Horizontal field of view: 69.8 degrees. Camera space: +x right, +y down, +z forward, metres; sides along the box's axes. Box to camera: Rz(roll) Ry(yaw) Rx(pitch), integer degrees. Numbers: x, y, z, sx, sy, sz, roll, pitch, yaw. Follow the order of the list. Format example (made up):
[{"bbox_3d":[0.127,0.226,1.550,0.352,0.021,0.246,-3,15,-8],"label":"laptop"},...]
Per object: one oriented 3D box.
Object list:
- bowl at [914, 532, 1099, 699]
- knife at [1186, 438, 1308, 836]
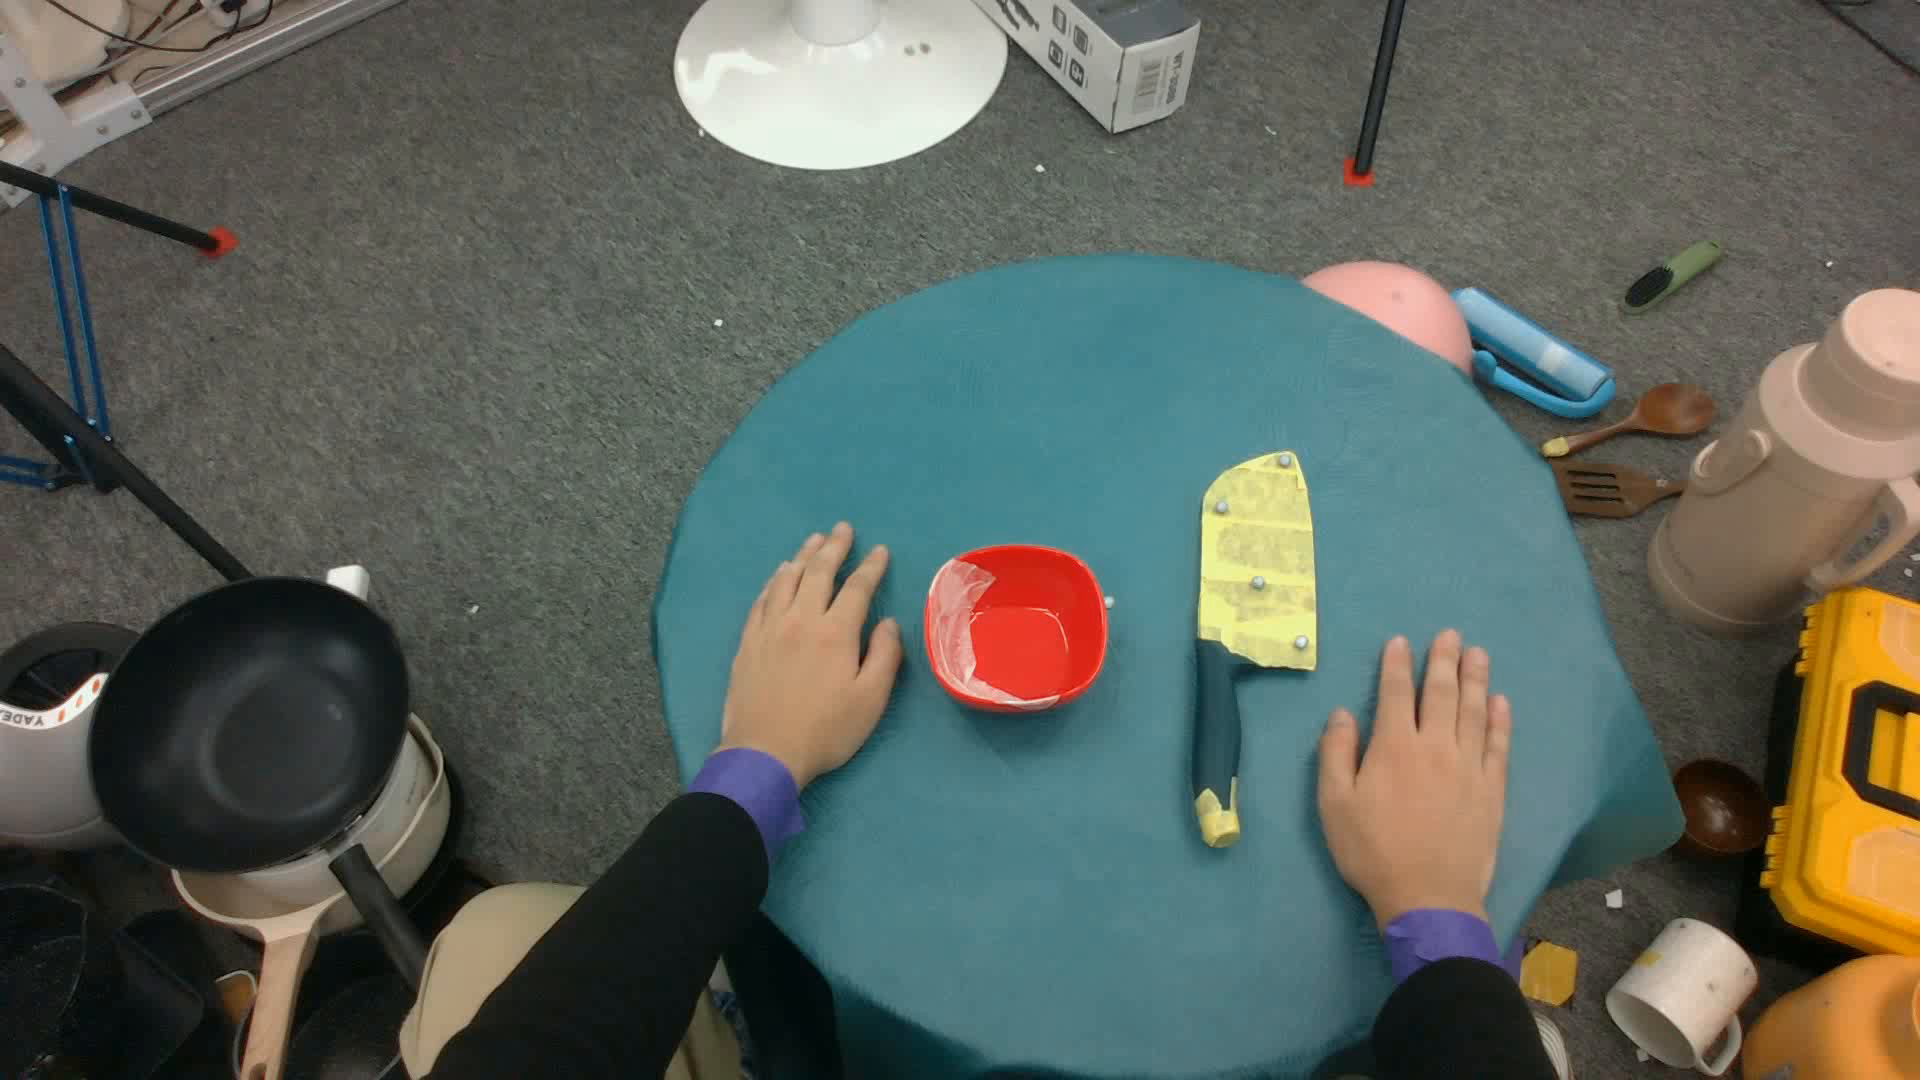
[{"bbox_3d":[0.028,0.054,0.839,0.119,0.051,0.119,0,56,0],"label":"bowl"},{"bbox_3d":[0.177,0.049,0.860,0.081,0.027,0.291,6,57,8],"label":"knife"}]
